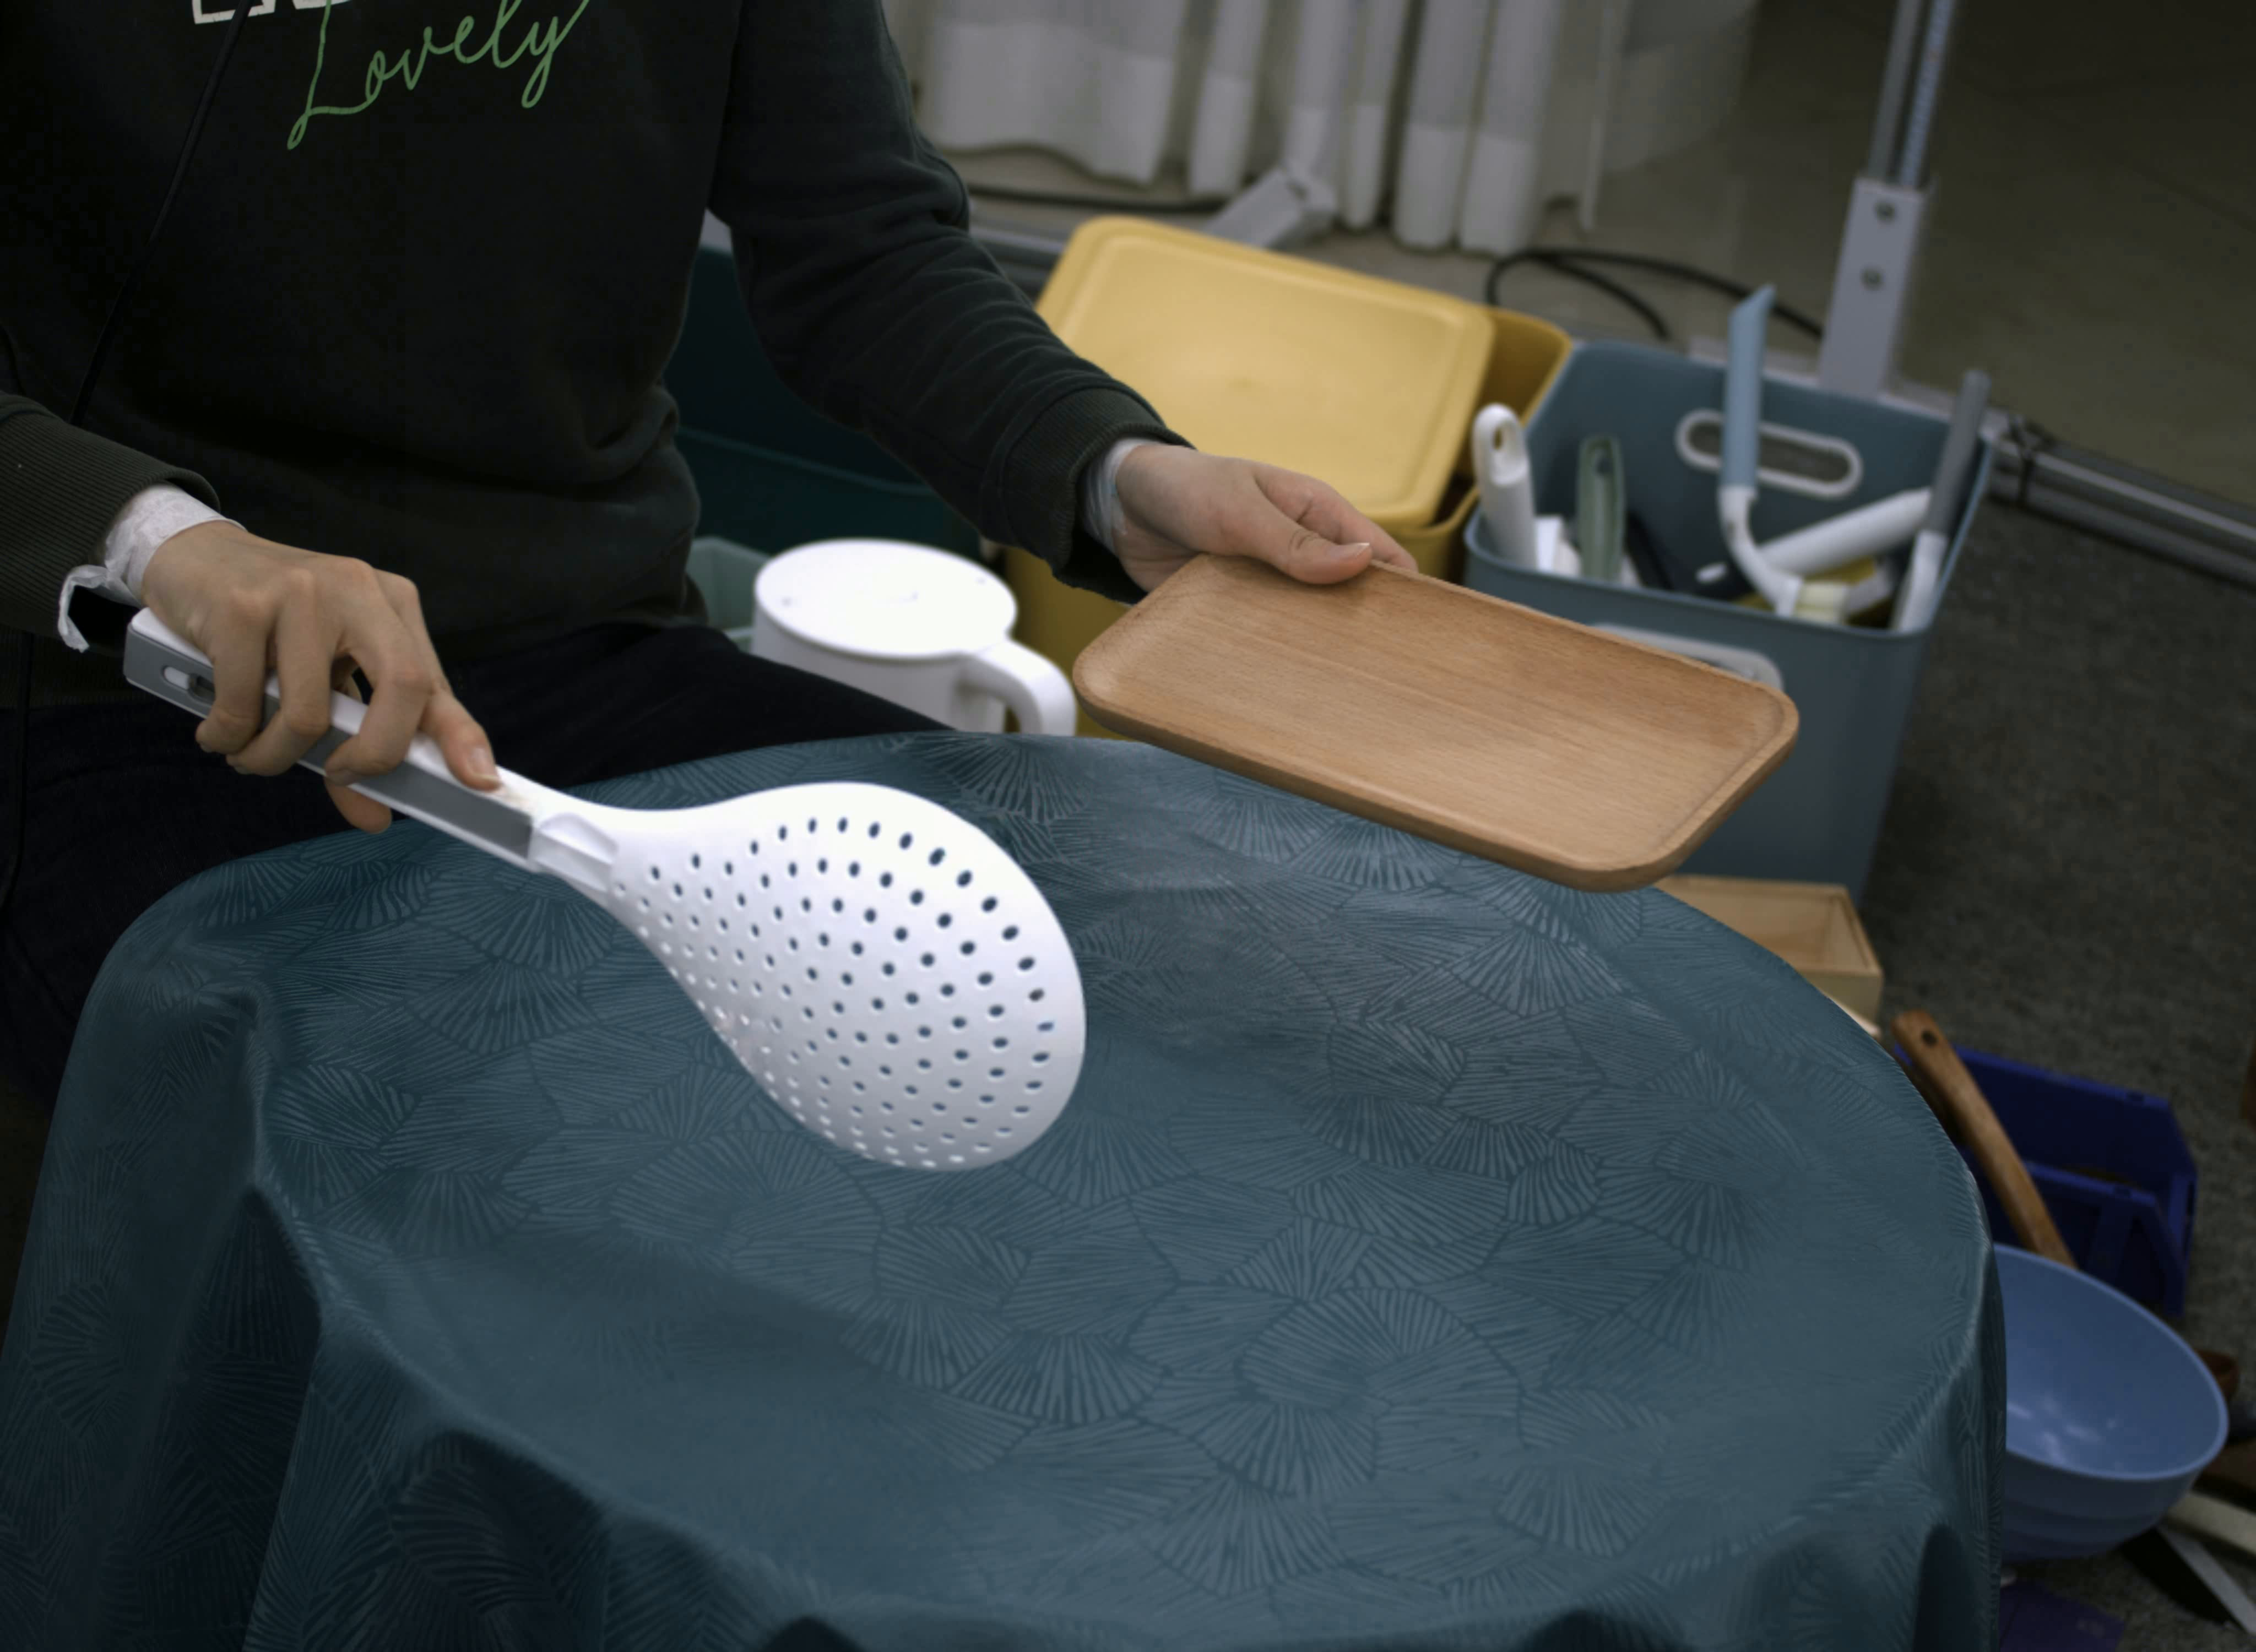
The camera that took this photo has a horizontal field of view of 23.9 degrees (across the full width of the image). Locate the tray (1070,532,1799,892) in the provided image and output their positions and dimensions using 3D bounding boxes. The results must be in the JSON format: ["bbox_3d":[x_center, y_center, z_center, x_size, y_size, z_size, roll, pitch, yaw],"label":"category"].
[{"bbox_3d":[0.106,-0.042,1.870,0.252,0.023,0.130,19,40,33],"label":"tray"}]

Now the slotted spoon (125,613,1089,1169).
[{"bbox_3d":[-0.172,0.007,1.690,0.351,0.135,0.045,26,32,21],"label":"slotted spoon"}]
